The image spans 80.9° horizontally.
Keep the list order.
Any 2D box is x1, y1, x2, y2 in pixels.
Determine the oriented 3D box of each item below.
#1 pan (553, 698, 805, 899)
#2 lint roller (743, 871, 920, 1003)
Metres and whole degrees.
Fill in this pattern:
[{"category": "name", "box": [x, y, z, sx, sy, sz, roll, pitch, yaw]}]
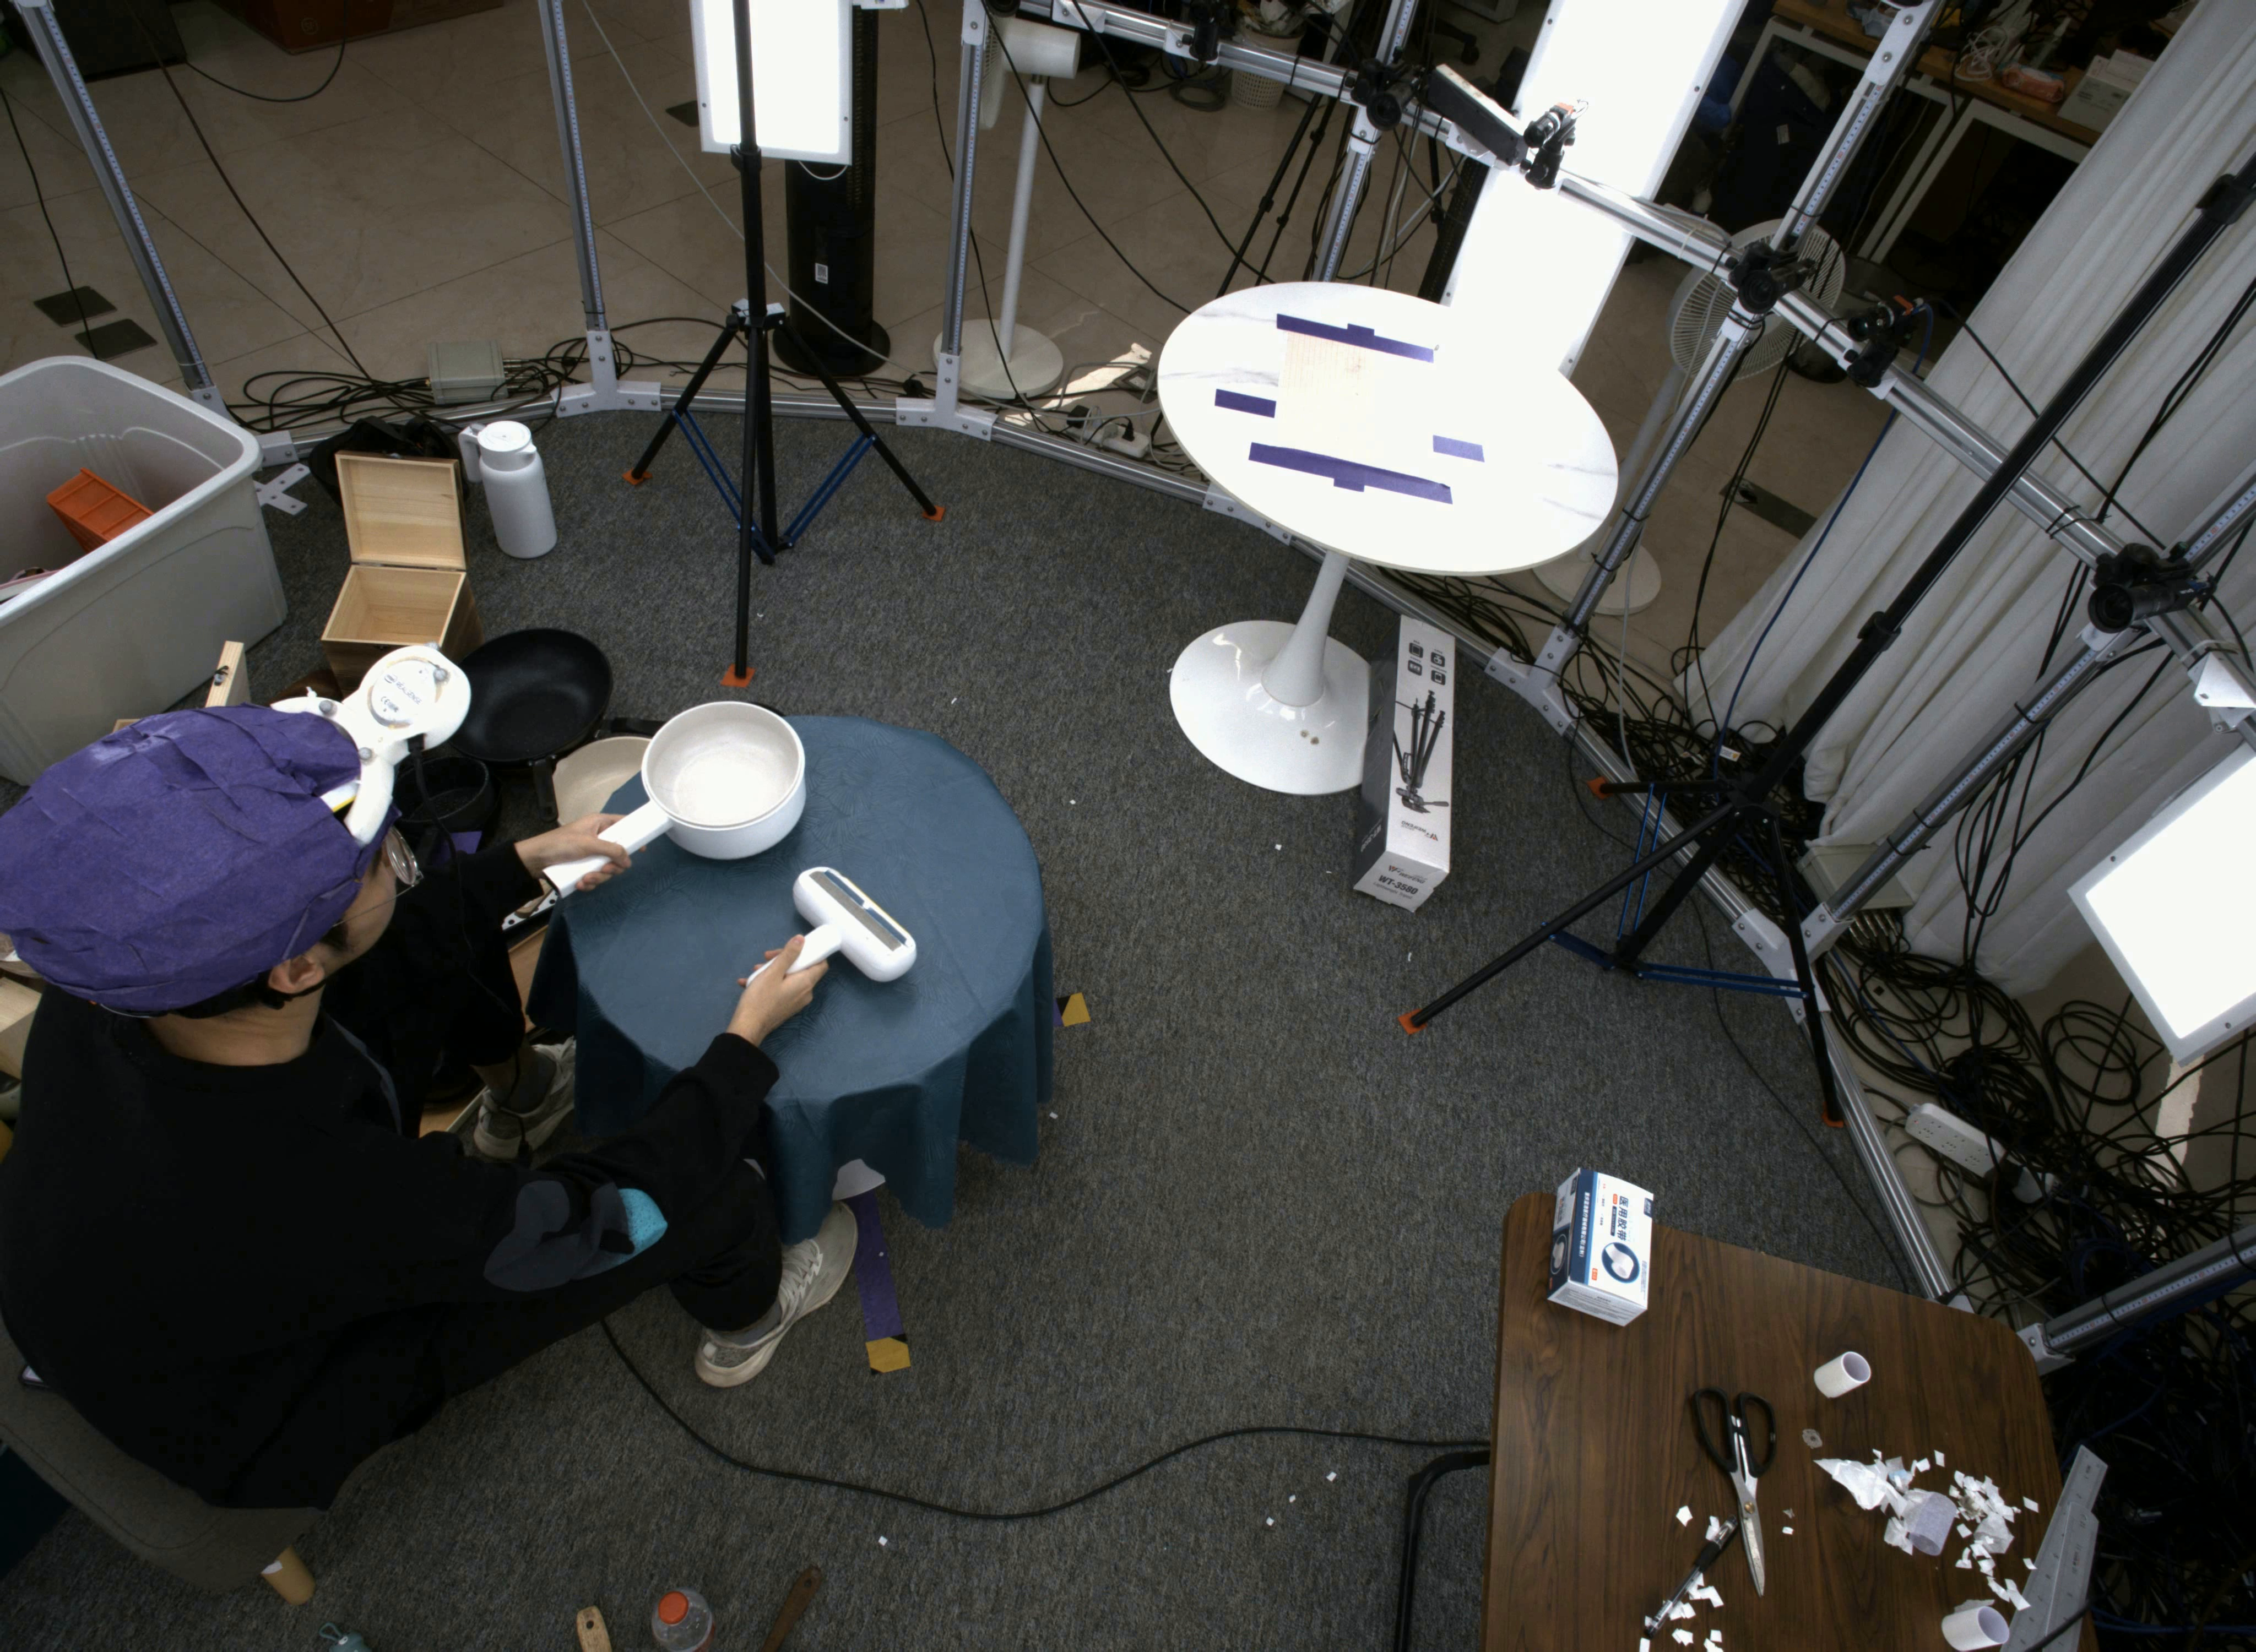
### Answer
[{"category": "pan", "box": [-0.569, -0.013, 1.627, 0.197, 0.104, 0.355, 41, 61, 15]}, {"category": "lint roller", "box": [-0.378, 0.148, 1.575, 0.194, 0.075, 0.188, -26, 59, -40]}]
